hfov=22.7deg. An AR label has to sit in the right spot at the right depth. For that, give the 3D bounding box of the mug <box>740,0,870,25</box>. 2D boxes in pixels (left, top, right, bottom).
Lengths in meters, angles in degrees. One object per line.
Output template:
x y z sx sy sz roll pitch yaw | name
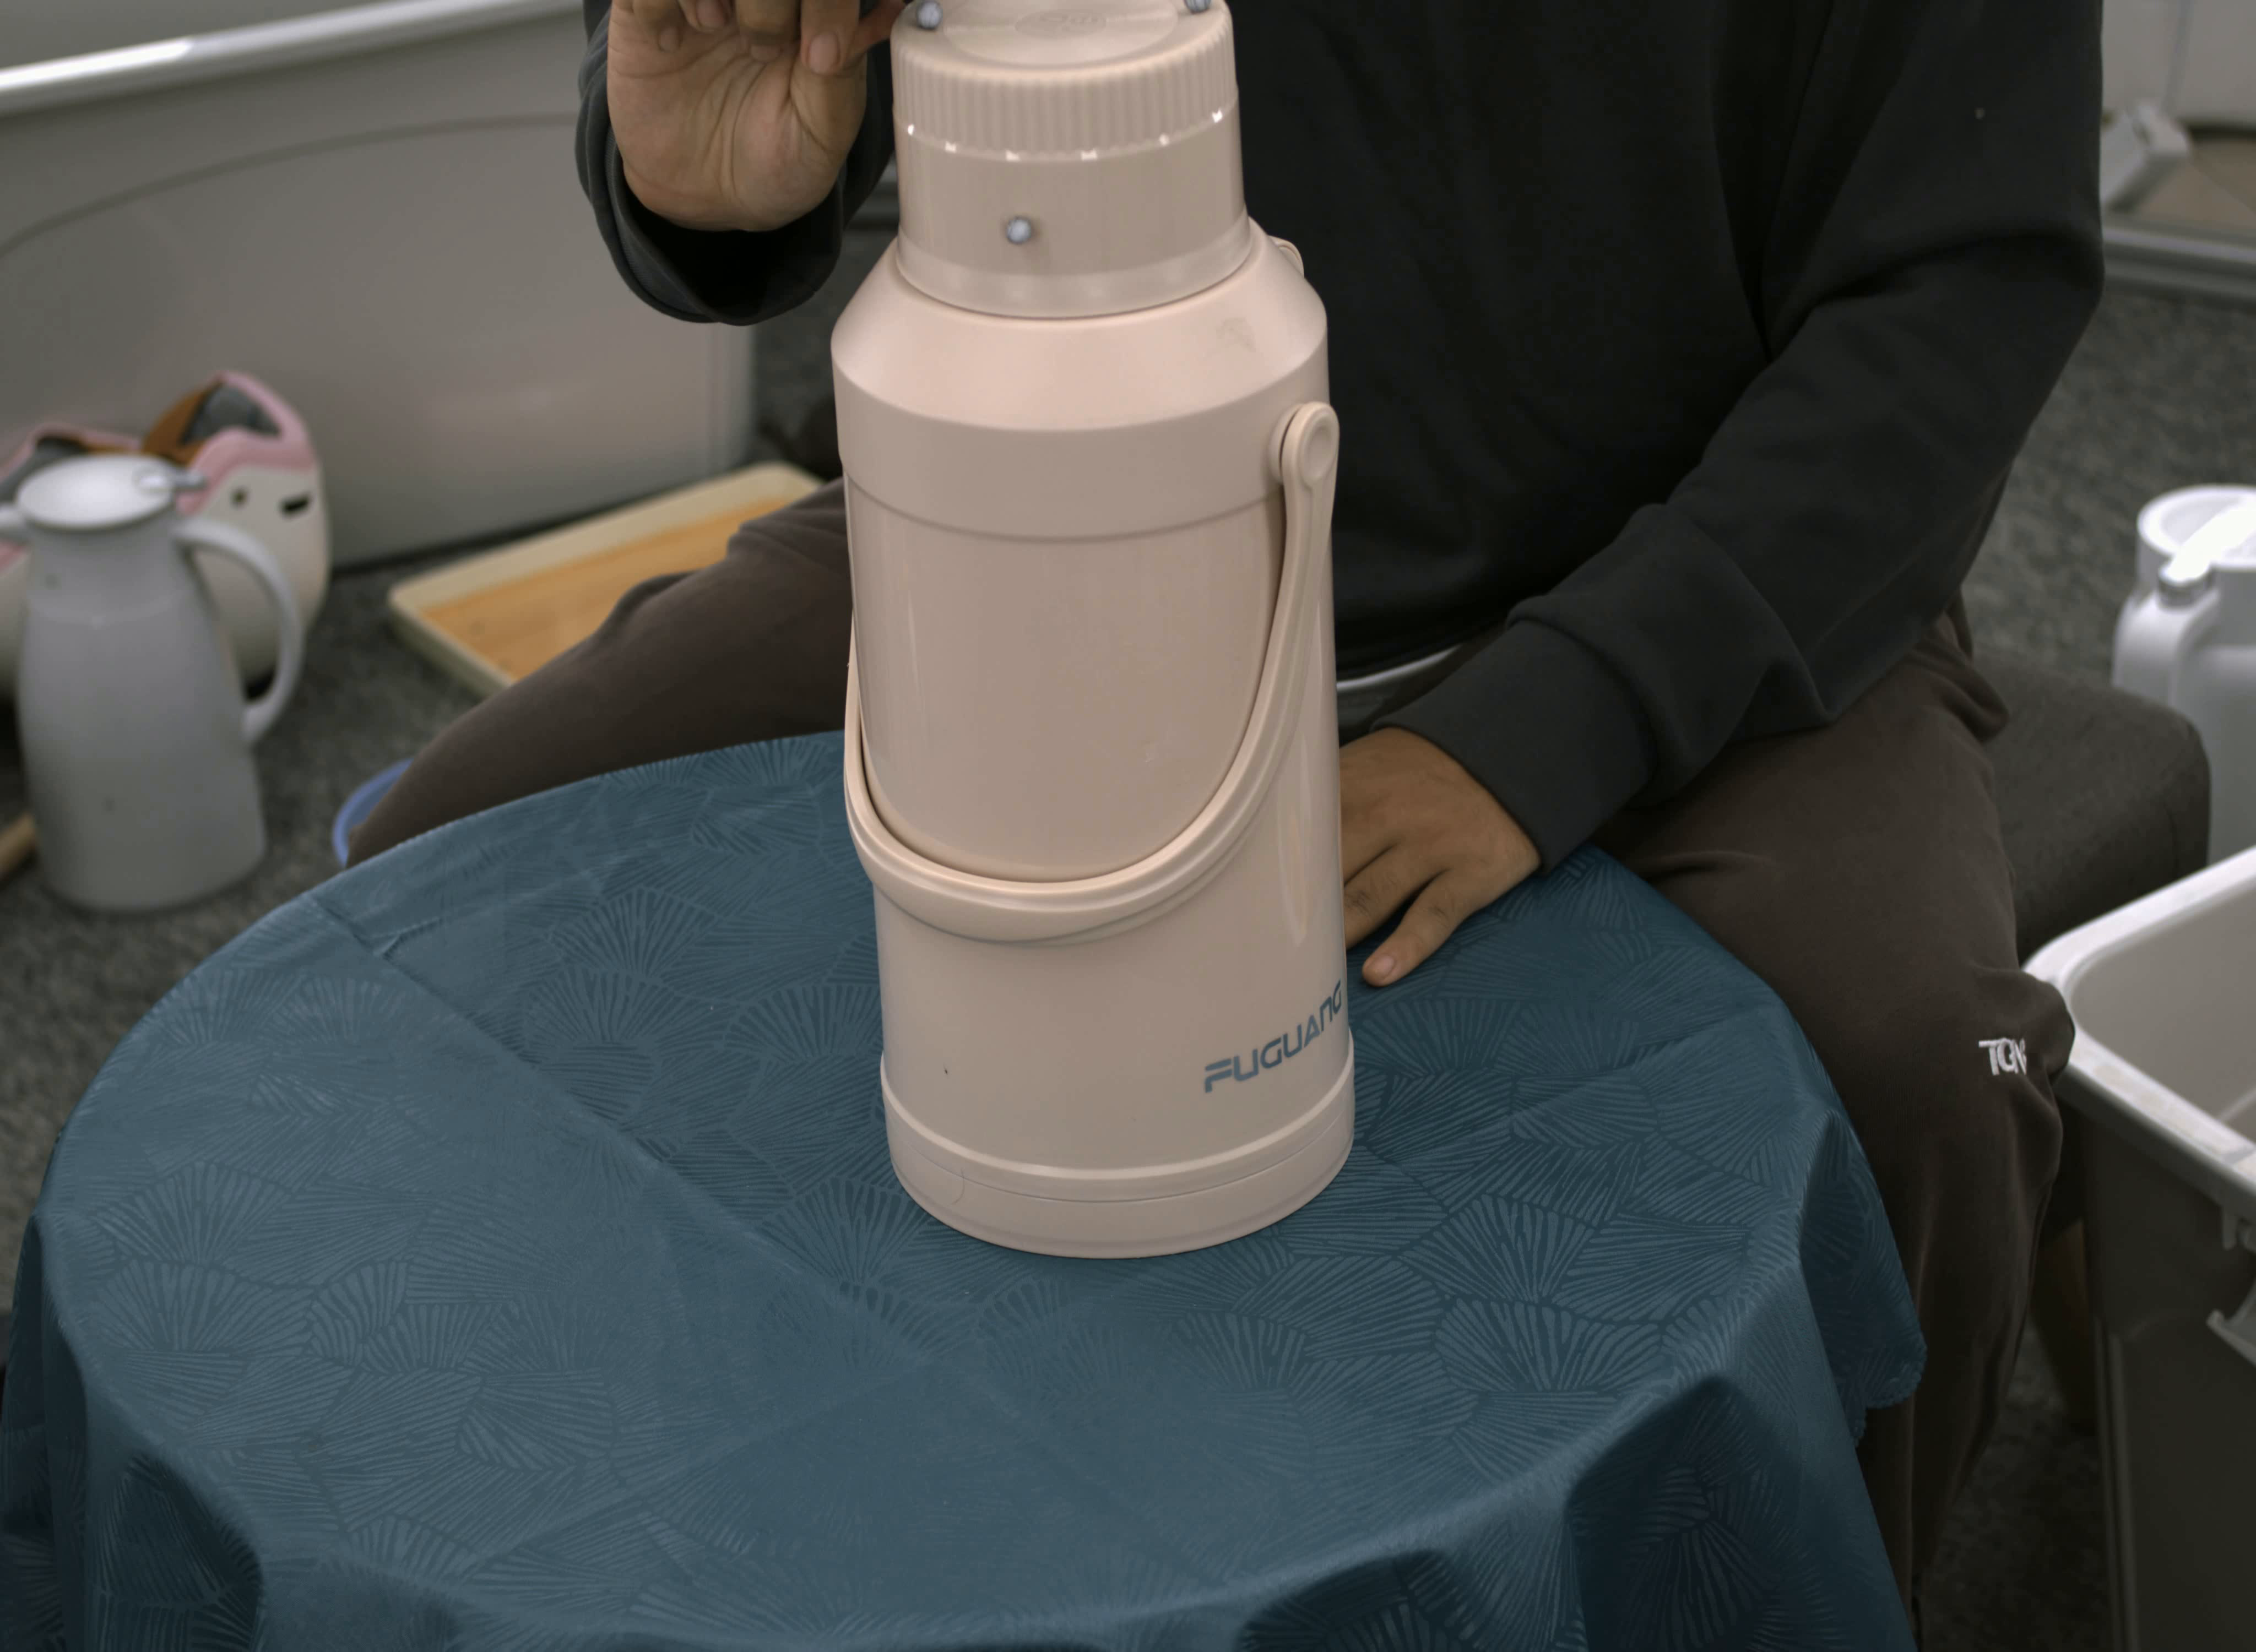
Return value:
-0.093 -0.299 1.721 0.089 0.121 0.095 21 37 1 | mug

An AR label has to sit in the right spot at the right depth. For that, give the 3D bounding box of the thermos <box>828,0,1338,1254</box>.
-0.005 -0.077 1.823 0.174 0.402 0.210 13 31 29 | thermos
